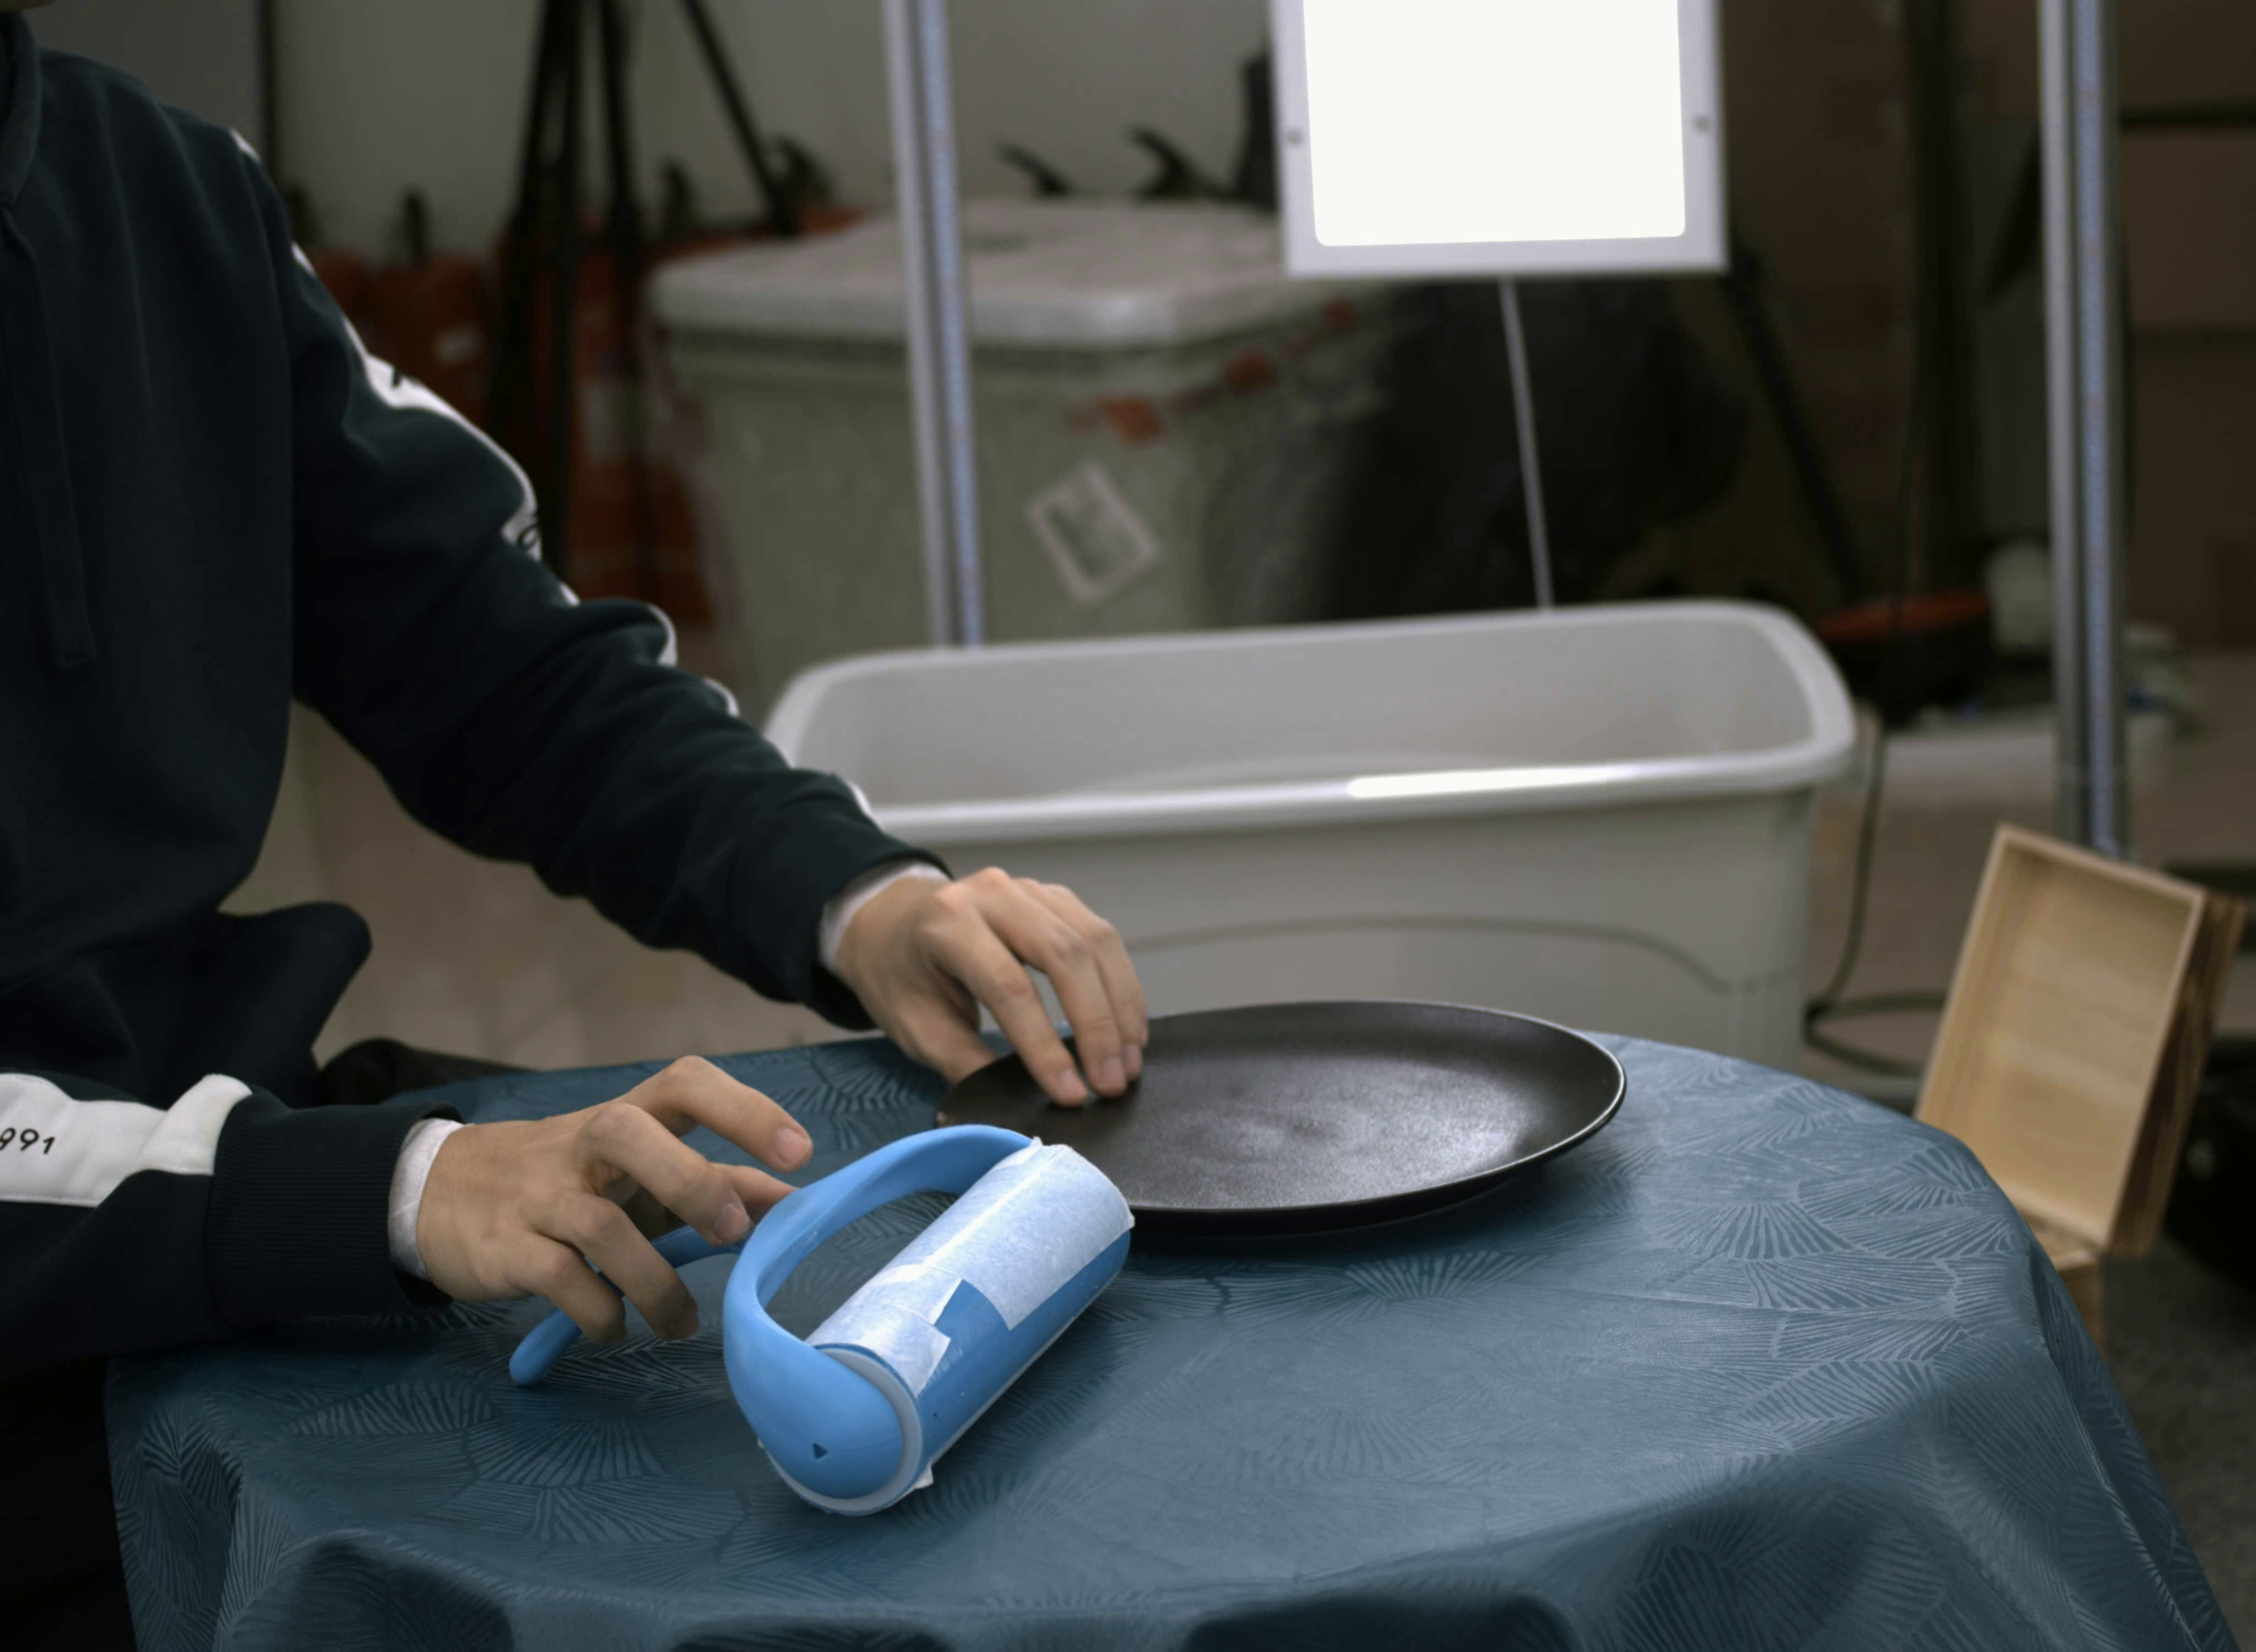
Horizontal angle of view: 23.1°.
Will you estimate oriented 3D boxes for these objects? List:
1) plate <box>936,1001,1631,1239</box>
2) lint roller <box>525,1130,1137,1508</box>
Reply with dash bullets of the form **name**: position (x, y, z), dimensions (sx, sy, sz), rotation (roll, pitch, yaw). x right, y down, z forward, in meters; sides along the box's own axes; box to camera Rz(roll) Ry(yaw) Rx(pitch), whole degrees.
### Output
- **plate**: position (0.055, 0.105, 1.916), dimensions (0.244, 0.023, 0.244), rotation (-5, 14, 0)
- **lint roller**: position (-0.108, 0.152, 1.714), dimensions (0.182, 0.068, 0.225), rotation (-2, 15, 17)
